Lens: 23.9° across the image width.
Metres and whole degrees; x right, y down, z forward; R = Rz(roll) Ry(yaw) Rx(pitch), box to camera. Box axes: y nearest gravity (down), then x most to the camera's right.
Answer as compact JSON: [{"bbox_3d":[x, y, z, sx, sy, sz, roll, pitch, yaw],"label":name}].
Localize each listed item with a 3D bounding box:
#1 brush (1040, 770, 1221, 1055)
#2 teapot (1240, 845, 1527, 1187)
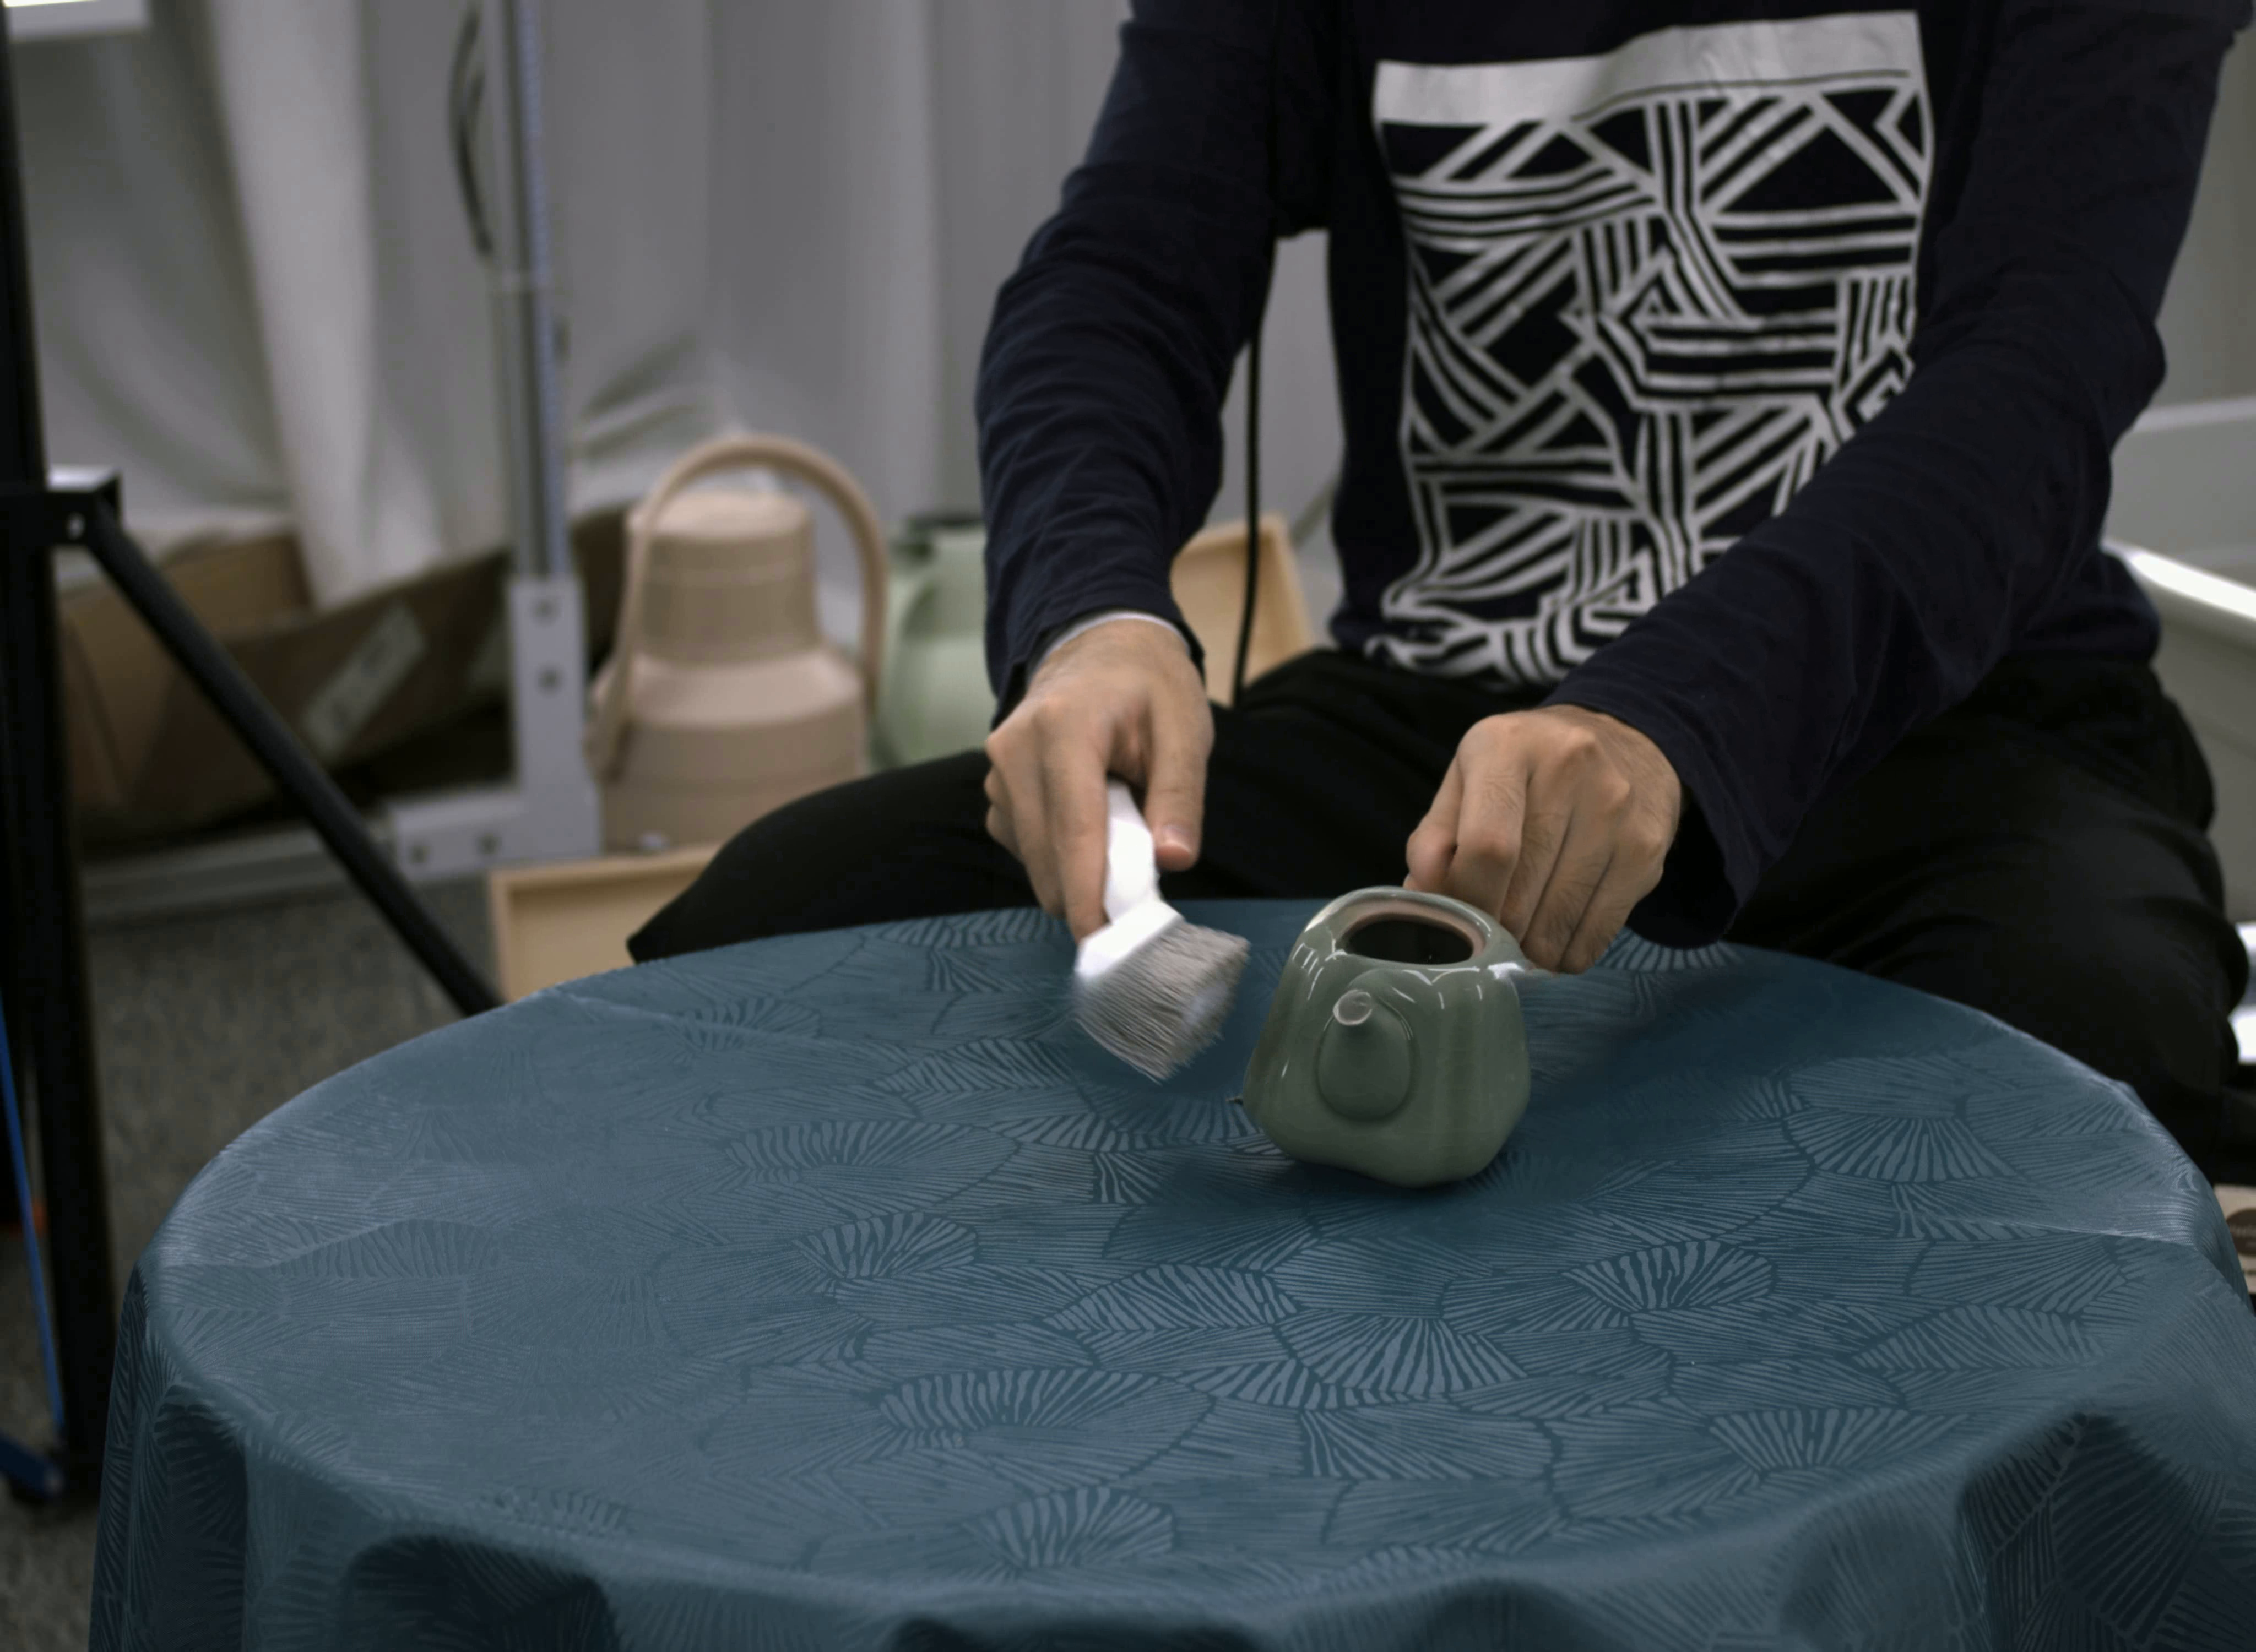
[{"bbox_3d":[0.005,0.023,1.645,0.050,0.034,0.244,11,13,-1],"label":"brush"},{"bbox_3d":[0.079,0.059,1.566,0.080,0.075,0.131,14,25,15],"label":"teapot"}]
